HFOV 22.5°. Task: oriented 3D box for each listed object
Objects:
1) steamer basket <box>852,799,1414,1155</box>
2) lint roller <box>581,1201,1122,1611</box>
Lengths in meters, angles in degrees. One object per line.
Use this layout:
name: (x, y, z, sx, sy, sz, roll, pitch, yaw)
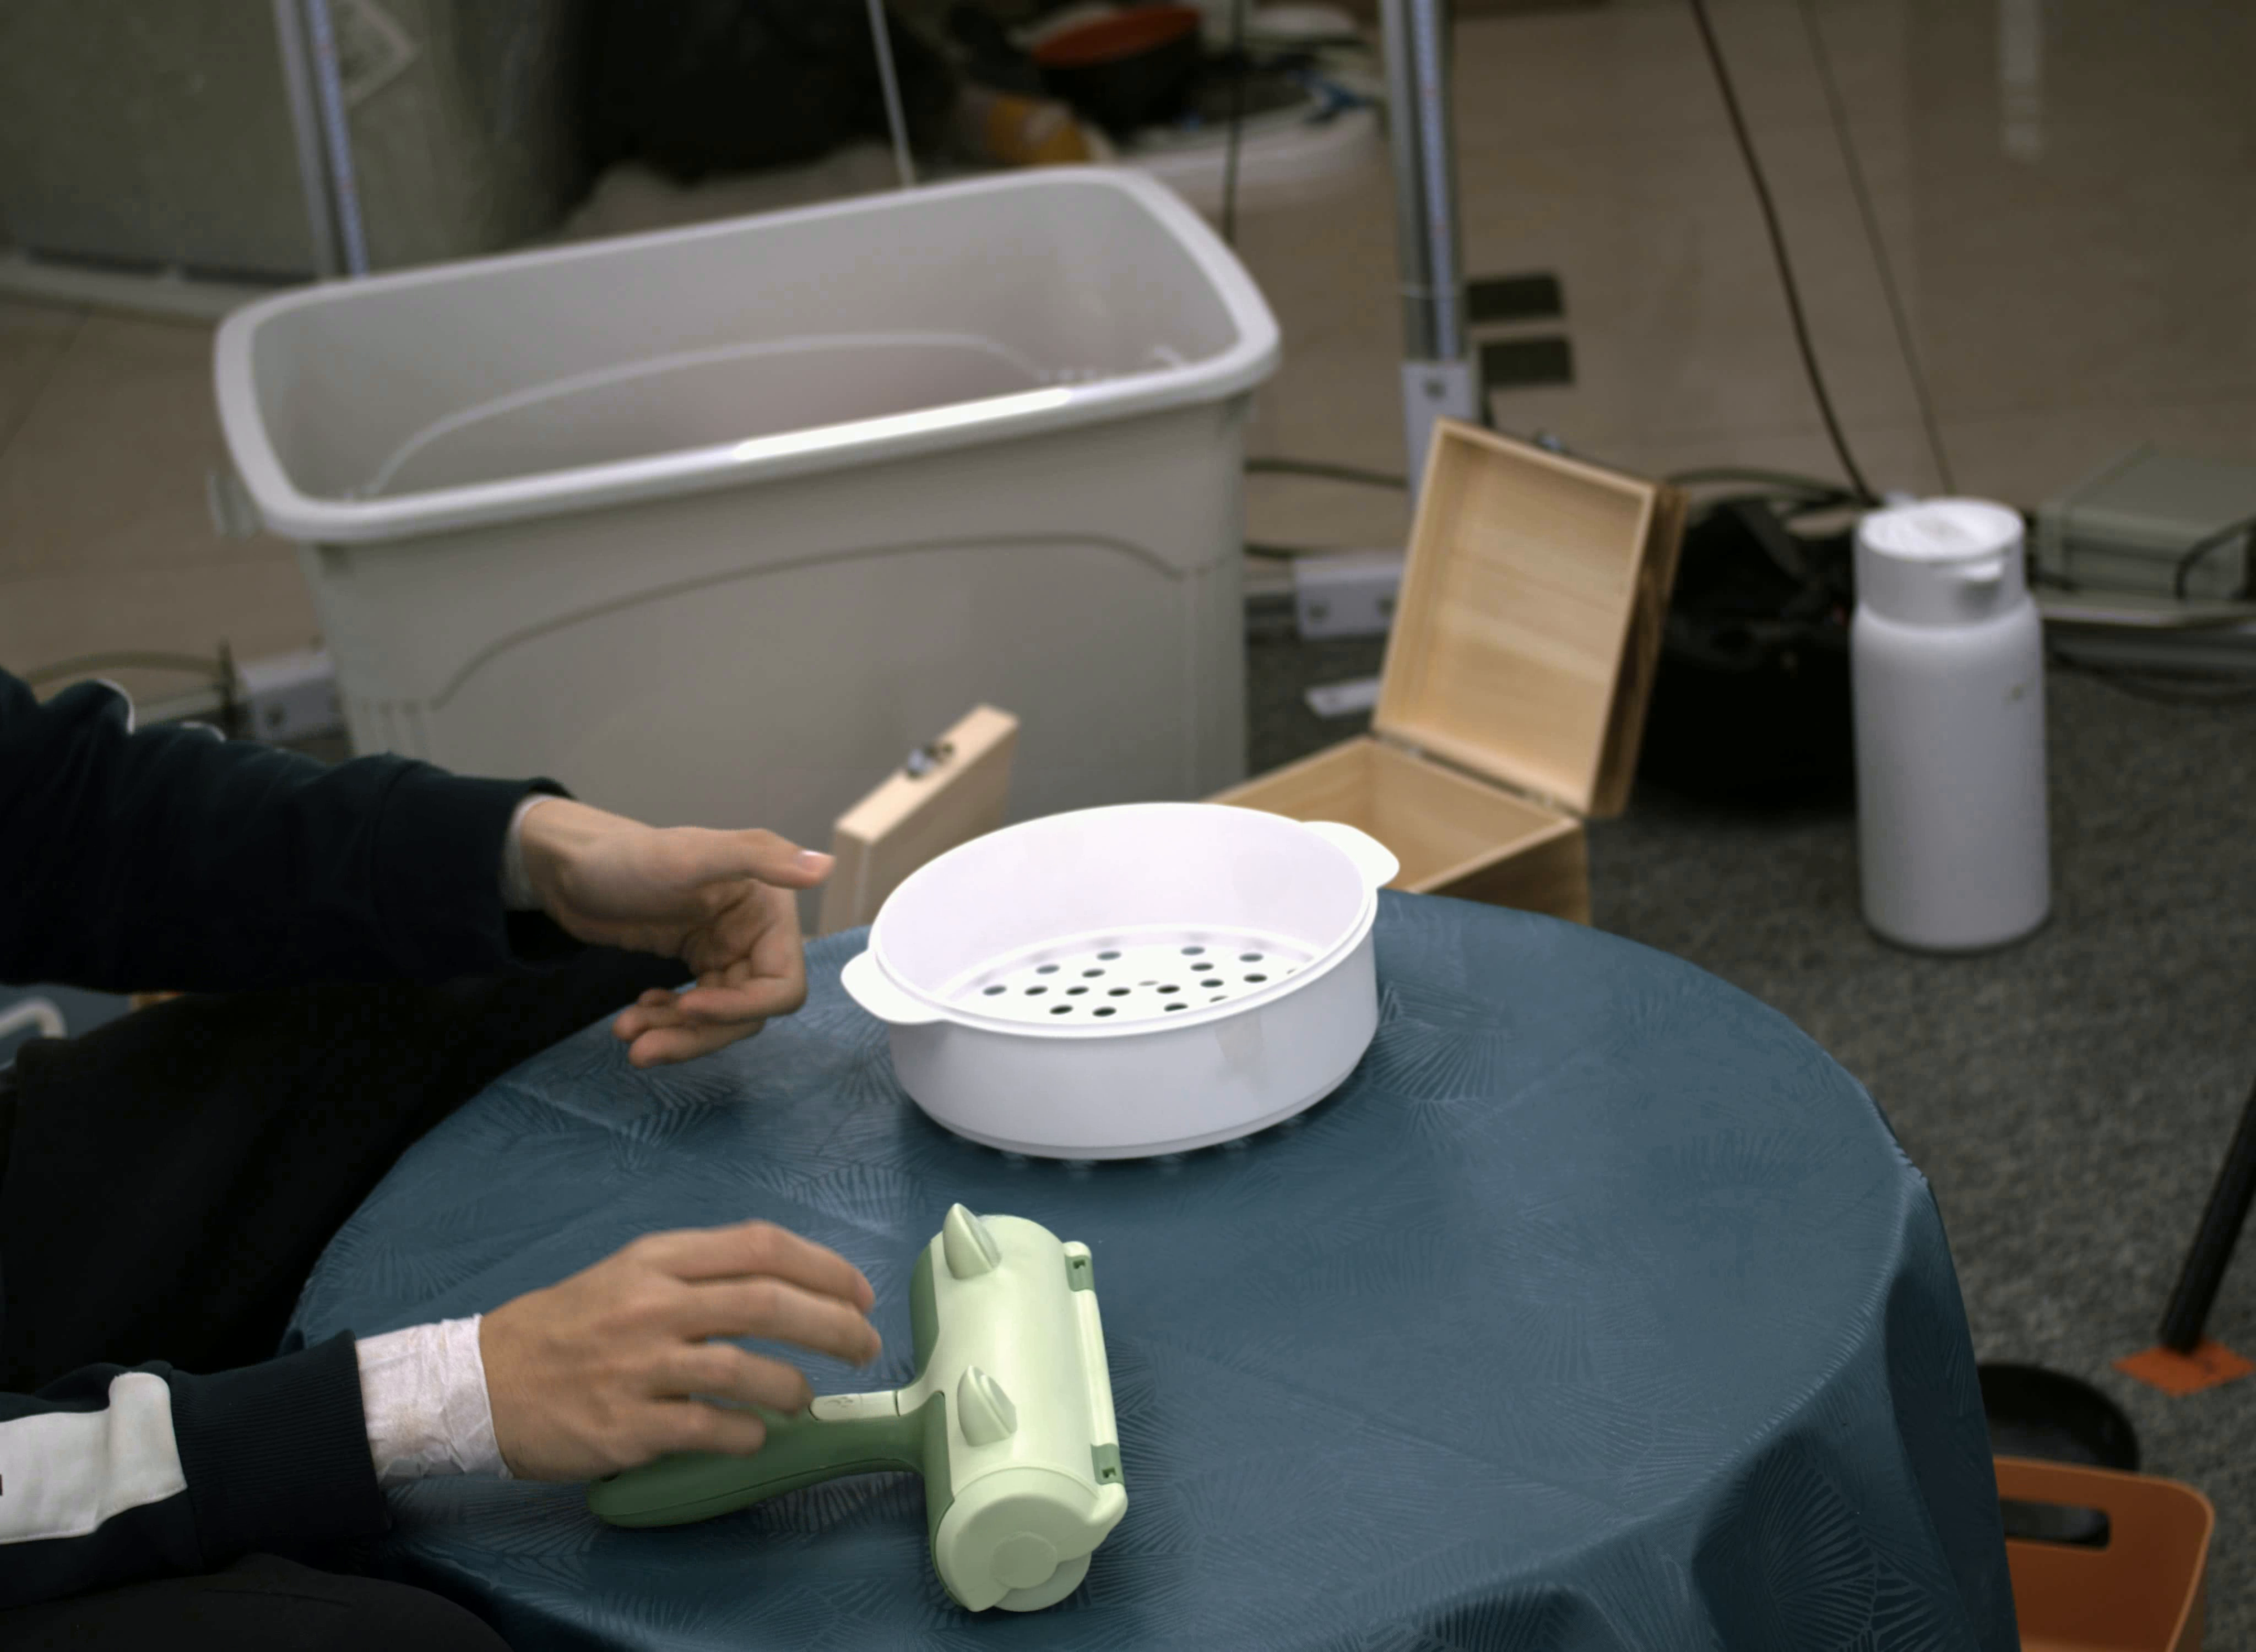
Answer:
steamer basket: (0.005, 0.060, 2.230, 0.229, 0.070, 0.199, -16, 27, -22)
lint roller: (-0.099, 0.196, 1.953, 0.183, 0.083, 0.195, -3, 25, -3)
